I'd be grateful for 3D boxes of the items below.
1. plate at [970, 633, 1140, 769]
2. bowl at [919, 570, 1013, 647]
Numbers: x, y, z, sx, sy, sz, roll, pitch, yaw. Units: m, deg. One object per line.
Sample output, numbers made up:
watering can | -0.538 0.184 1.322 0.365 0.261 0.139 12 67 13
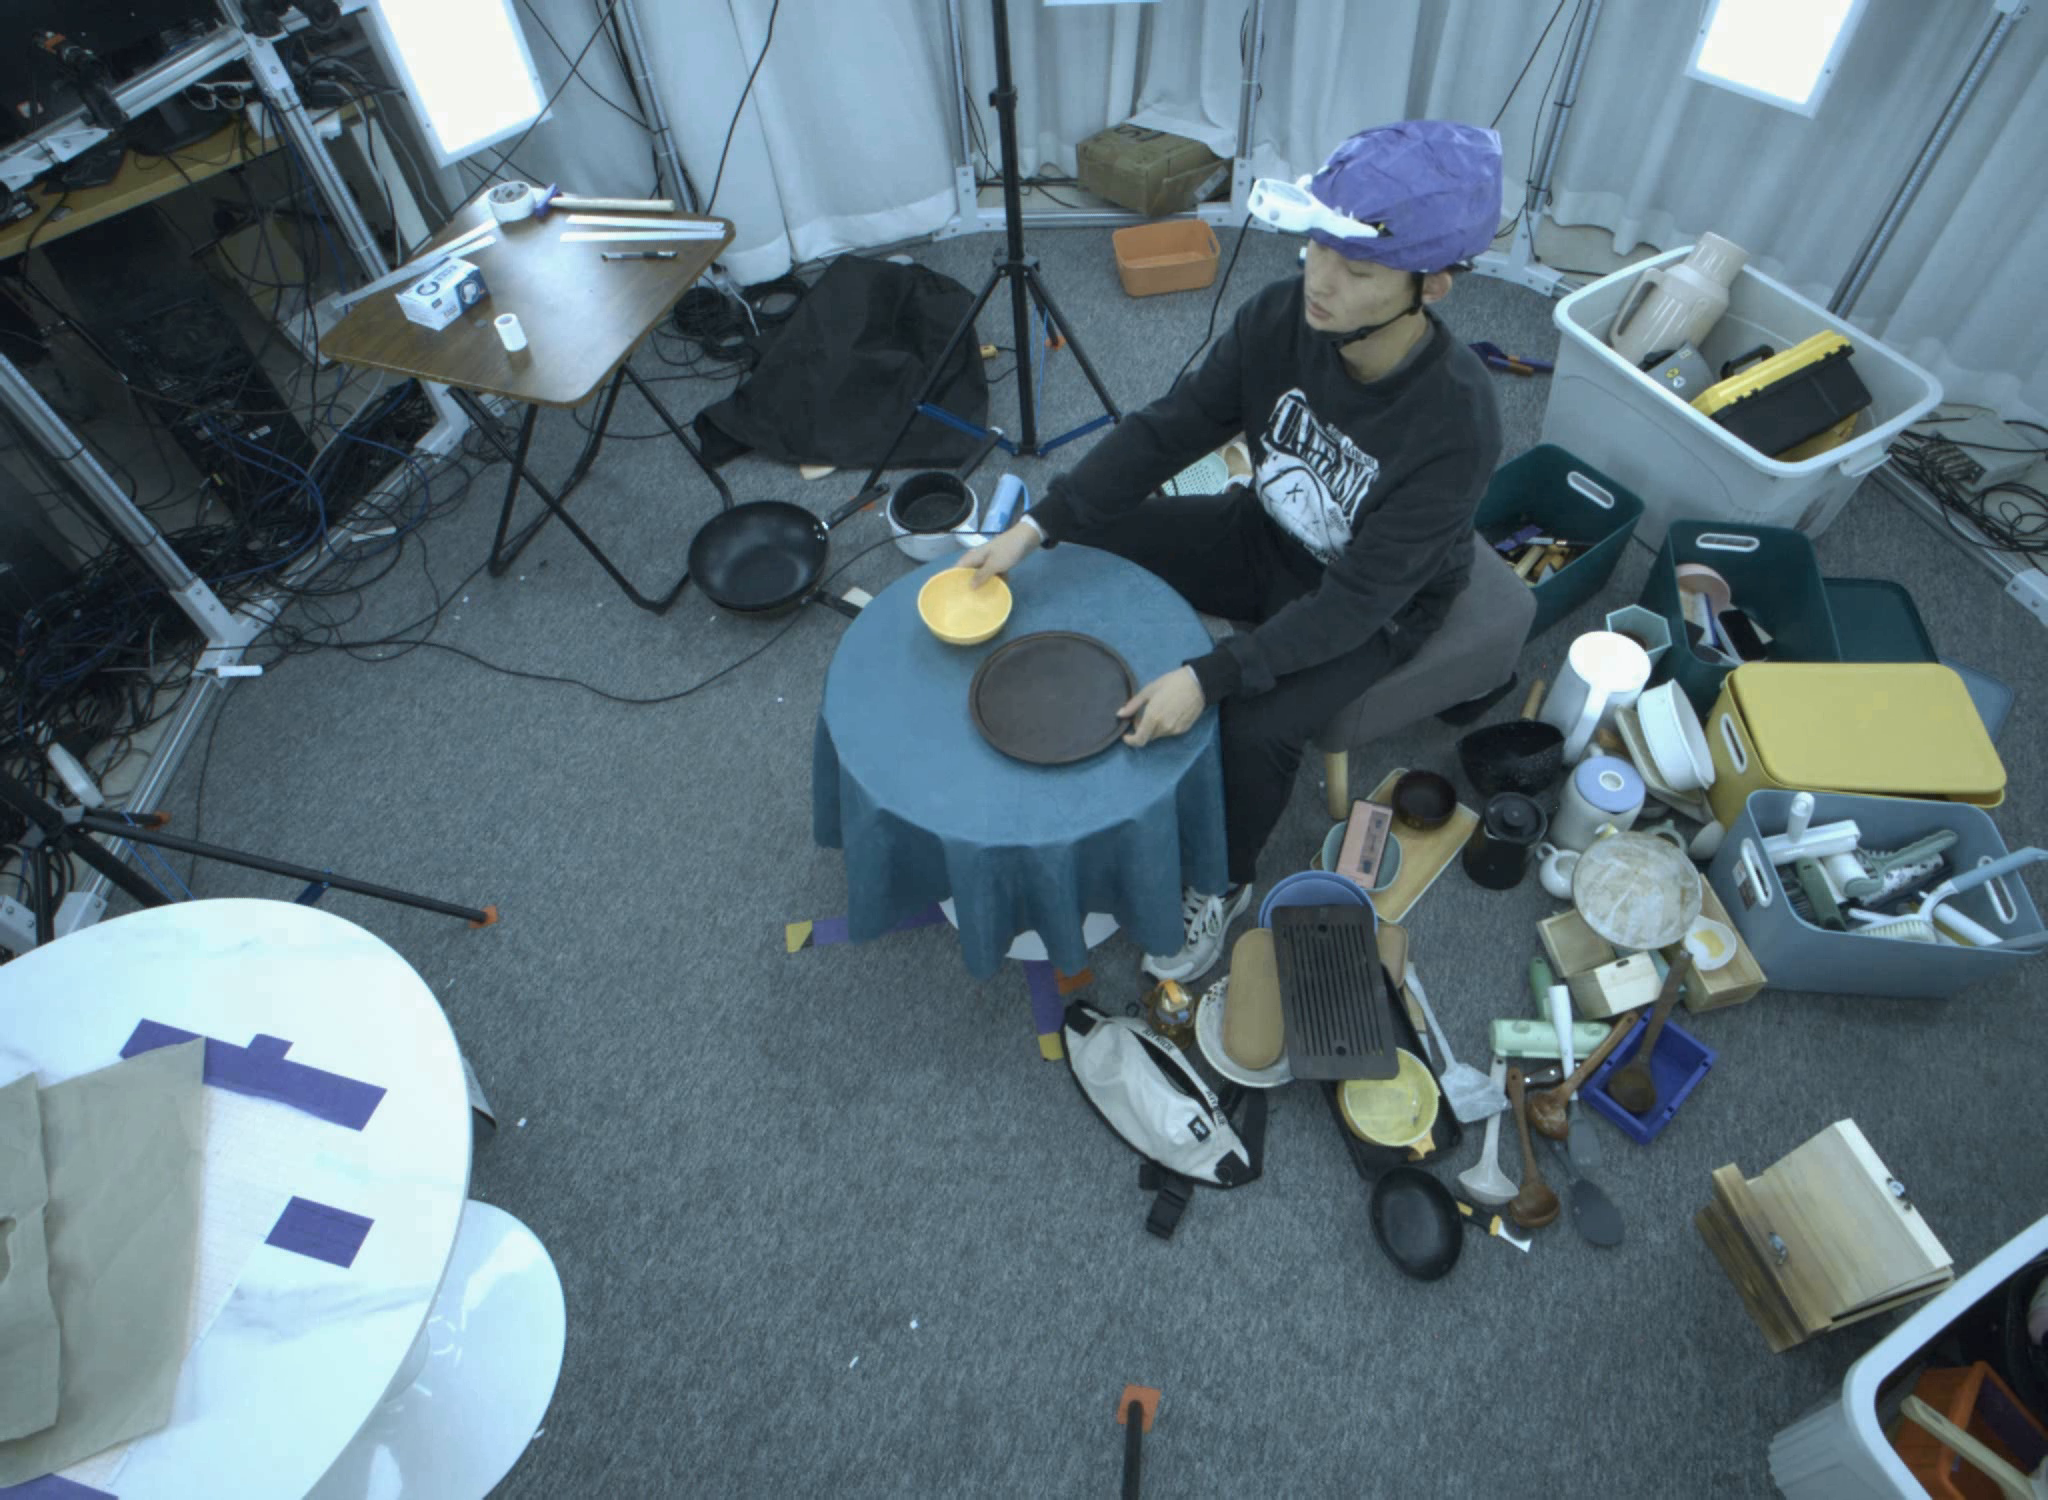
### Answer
plate | 0.046 -0.074 1.835 0.254 0.029 0.252 0 53 2
bowl | -0.092 -0.208 1.910 0.146 0.060 0.144 3 55 -3
